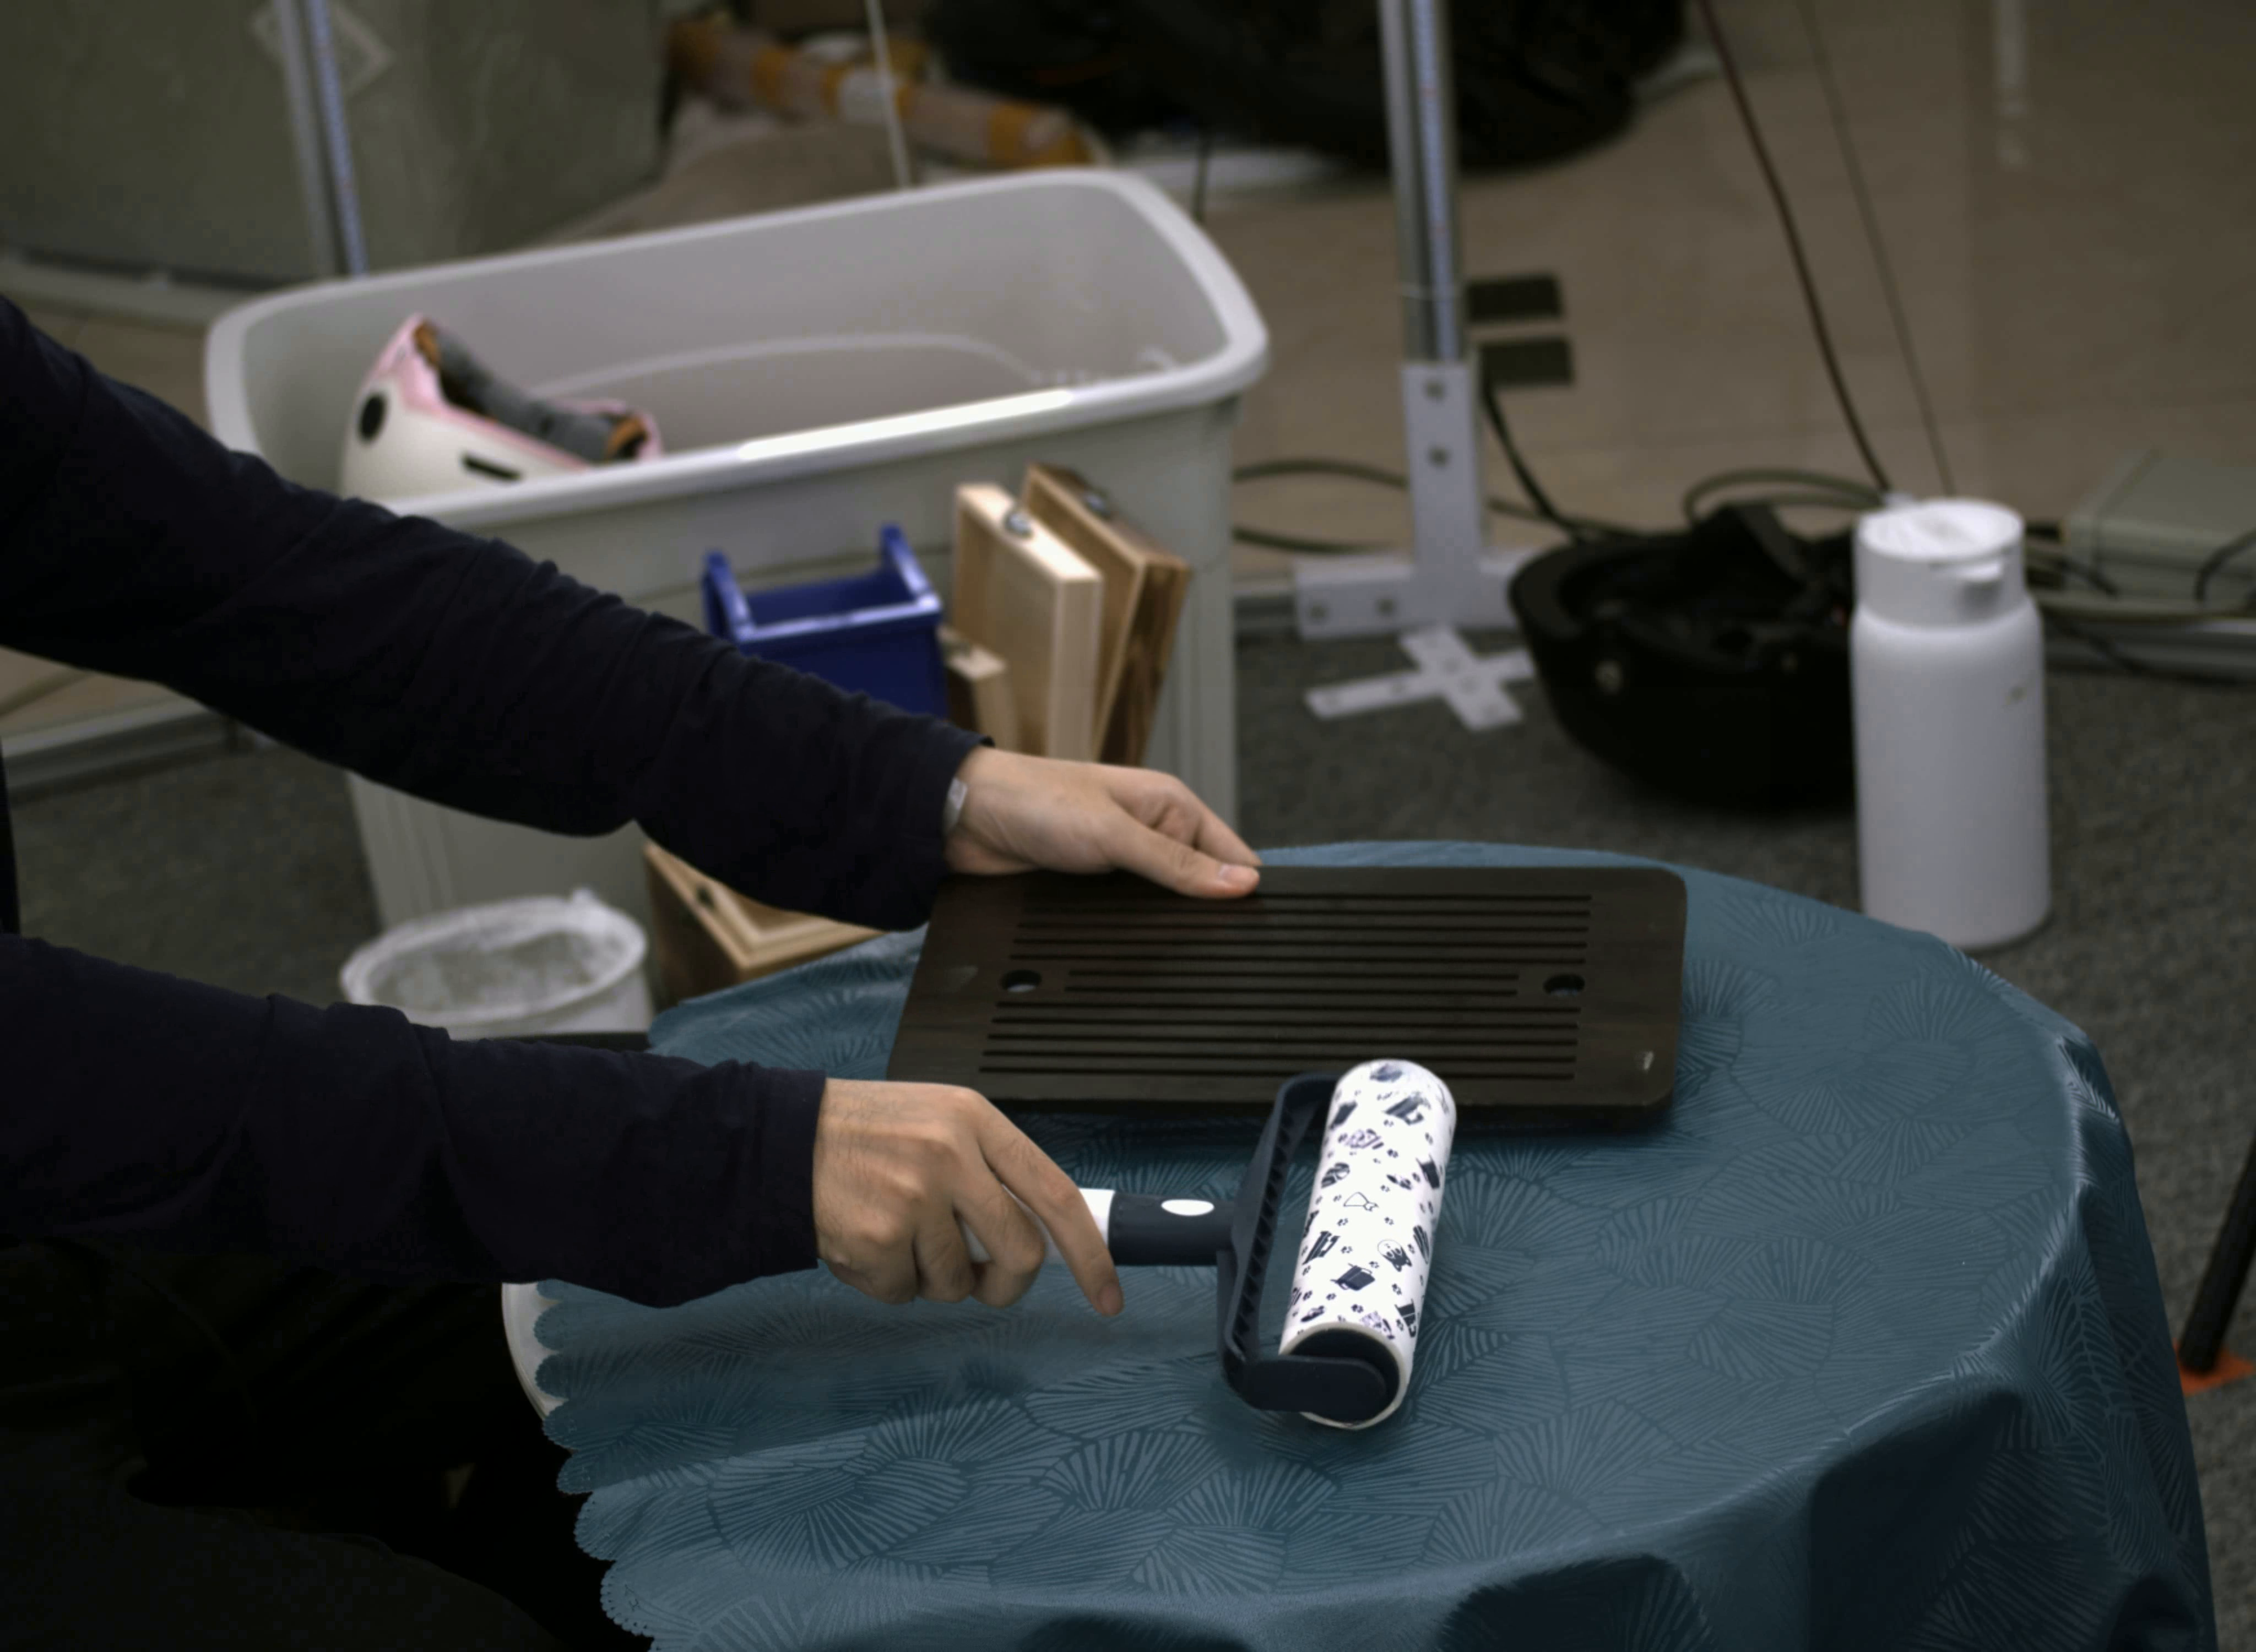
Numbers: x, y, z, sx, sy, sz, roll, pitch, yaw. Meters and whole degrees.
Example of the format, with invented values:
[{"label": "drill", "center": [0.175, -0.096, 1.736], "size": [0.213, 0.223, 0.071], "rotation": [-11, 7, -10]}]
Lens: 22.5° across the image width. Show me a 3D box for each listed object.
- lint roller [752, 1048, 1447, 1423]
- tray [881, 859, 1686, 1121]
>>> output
[{"label": "lint roller", "center": [-0.015, 0.144, 2.043], "size": [0.246, 0.051, 0.173], "rotation": [1, 35, 9]}, {"label": "tray", "center": [0.064, 0.064, 2.232], "size": [0.305, 0.019, 0.167], "rotation": [0, 32, 9]}]
